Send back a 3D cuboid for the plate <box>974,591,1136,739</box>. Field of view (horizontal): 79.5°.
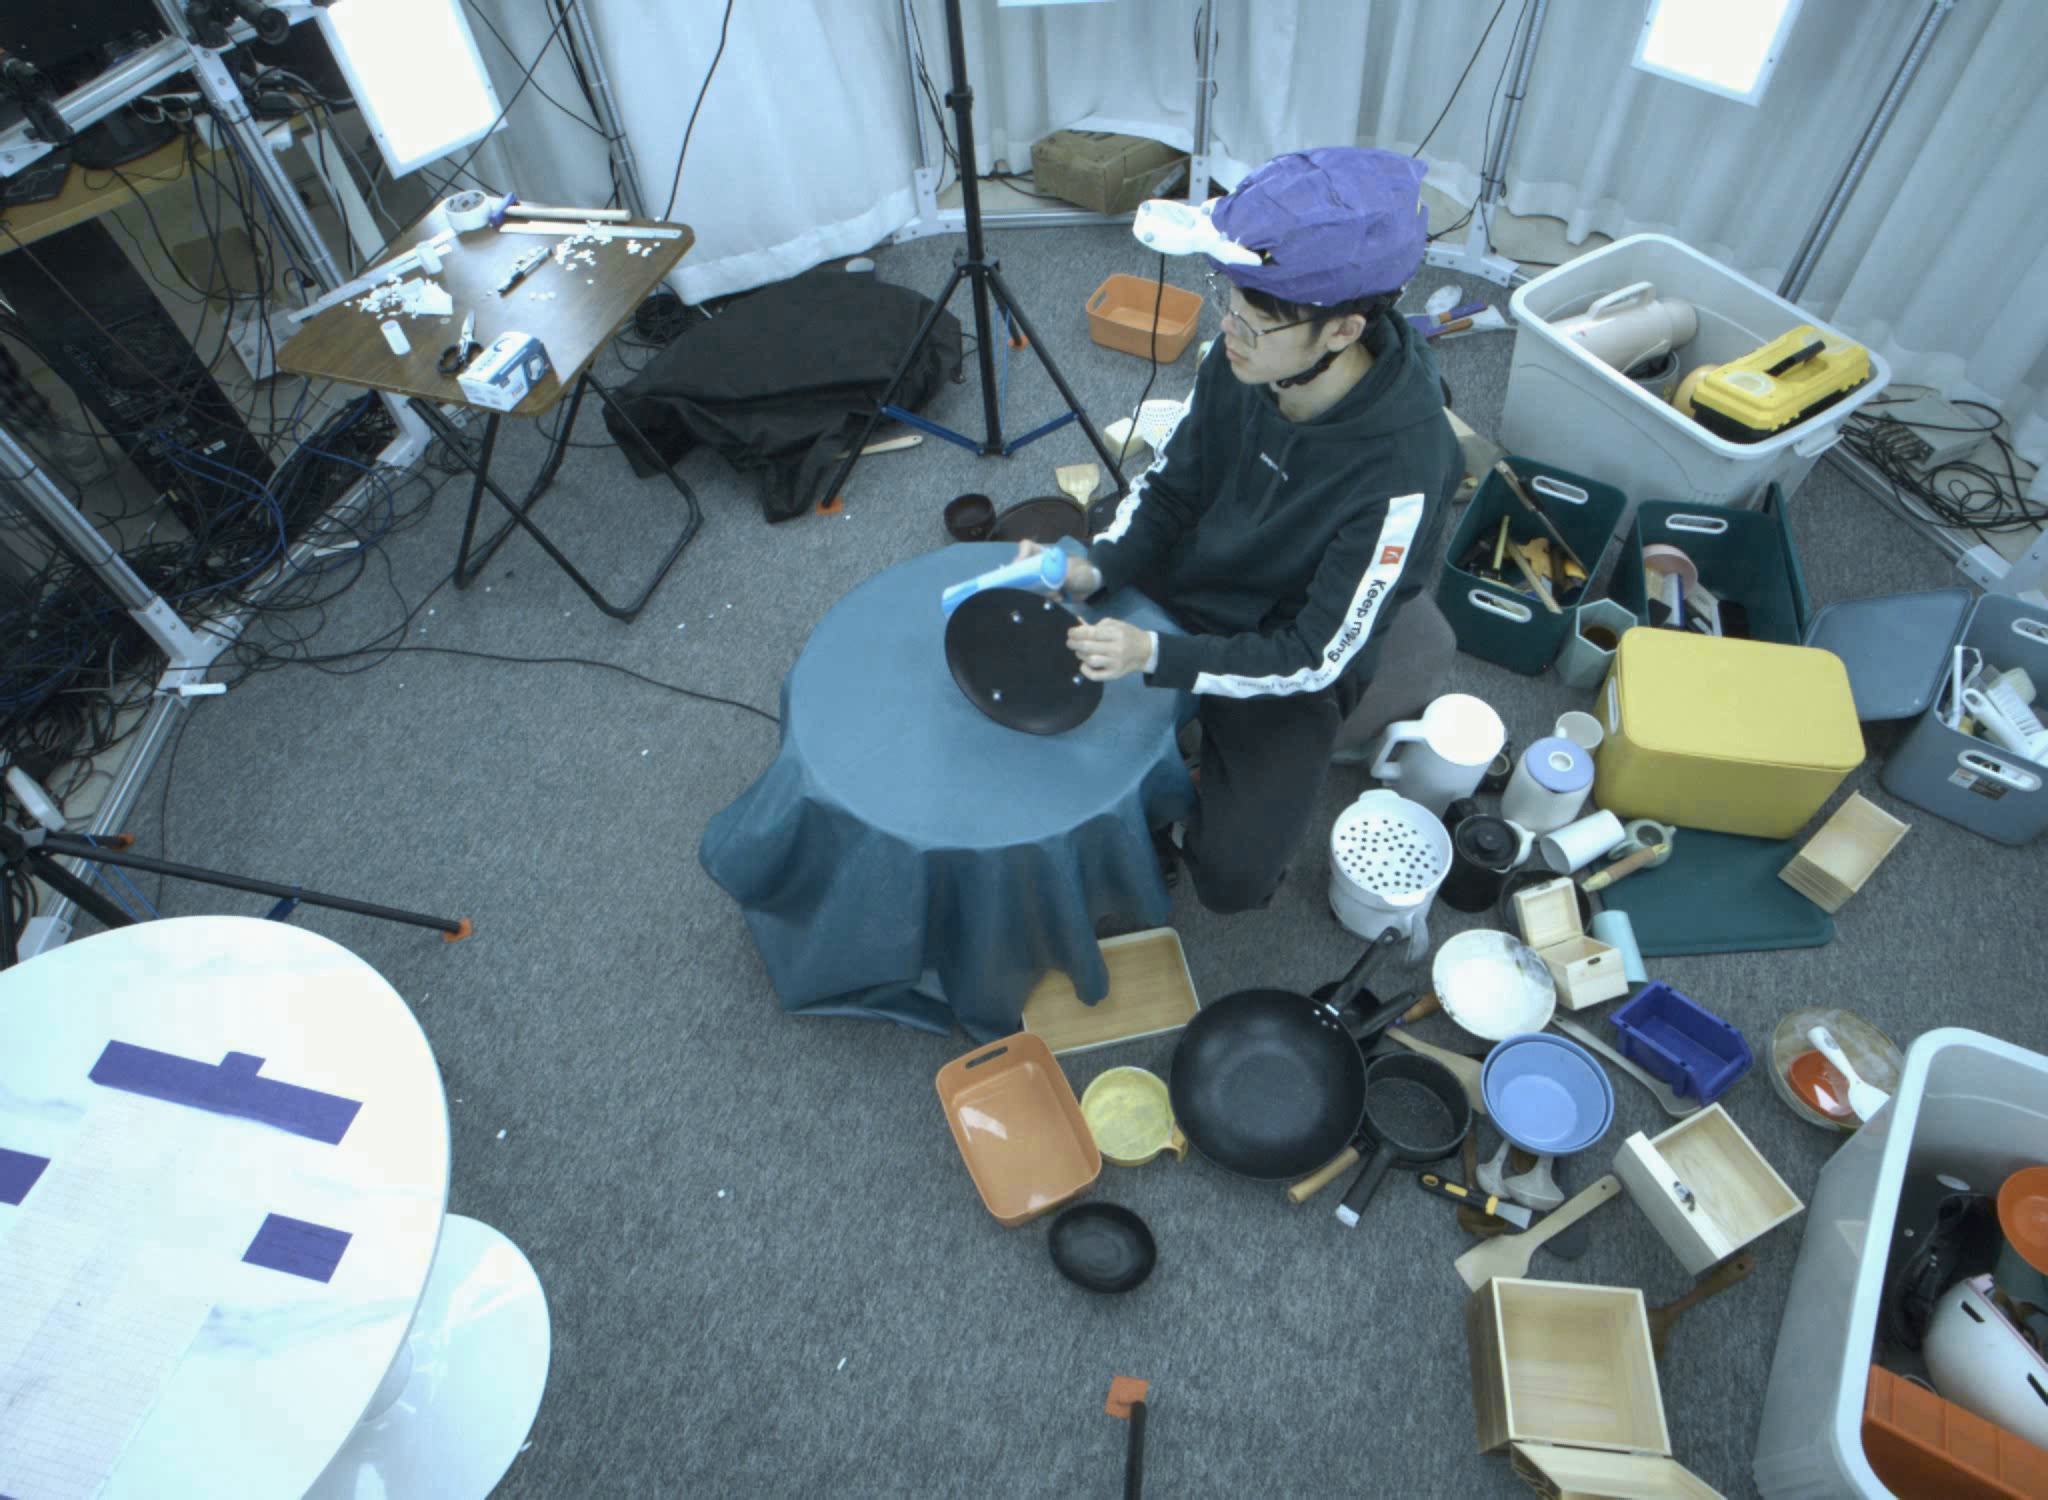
[{"bbox_3d":[0.044,-0.121,1.726,0.242,0.246,0.023,16,42,14],"label":"plate"}]

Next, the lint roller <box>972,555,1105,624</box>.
[{"bbox_3d":[0.050,-0.228,1.778,0.225,0.183,0.068,-13,88,38],"label":"lint roller"}]
